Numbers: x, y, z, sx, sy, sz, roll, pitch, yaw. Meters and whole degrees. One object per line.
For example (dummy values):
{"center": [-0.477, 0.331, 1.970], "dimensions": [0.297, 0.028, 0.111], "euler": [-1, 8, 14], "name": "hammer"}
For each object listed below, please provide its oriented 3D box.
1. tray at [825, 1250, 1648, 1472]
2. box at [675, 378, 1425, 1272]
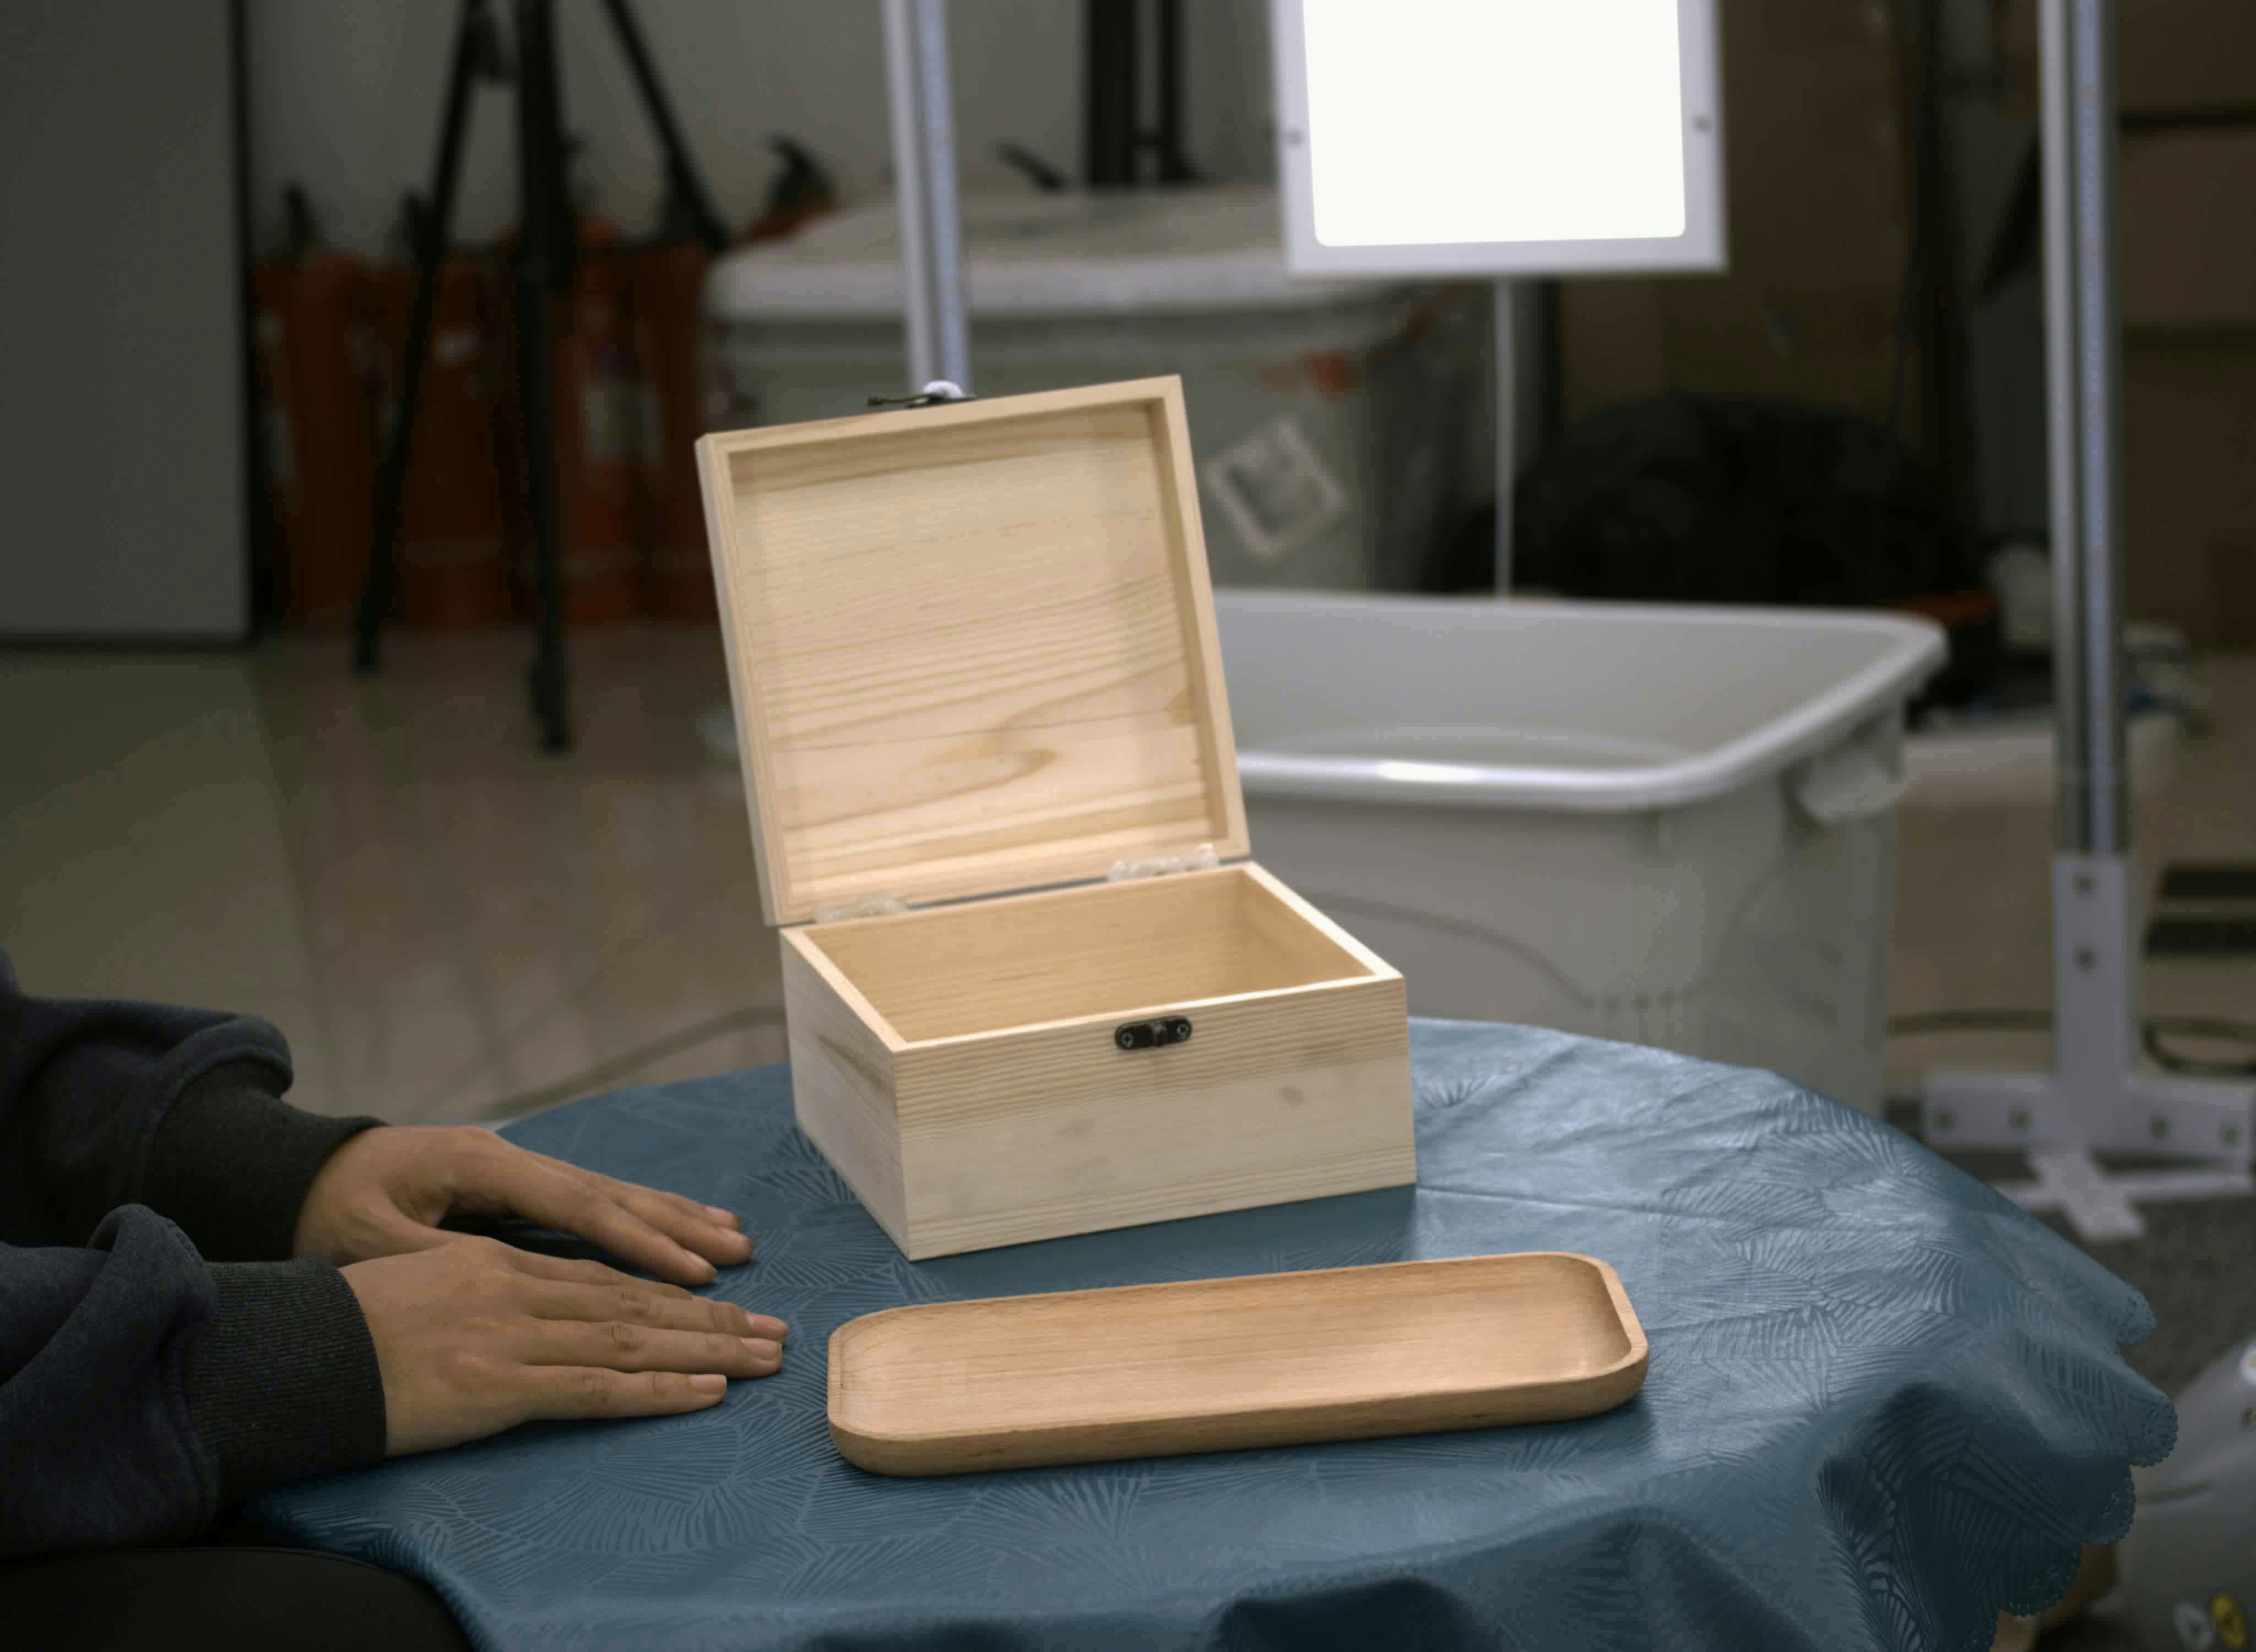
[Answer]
{"center": [0.032, 0.164, 1.693], "dimensions": [0.250, 0.023, 0.130], "euler": [-5, 11, 1], "name": "tray"}
{"center": [-0.031, -0.009, 1.949], "dimensions": [0.179, 0.254, 0.267], "euler": [-11, 14, -13], "name": "box"}
